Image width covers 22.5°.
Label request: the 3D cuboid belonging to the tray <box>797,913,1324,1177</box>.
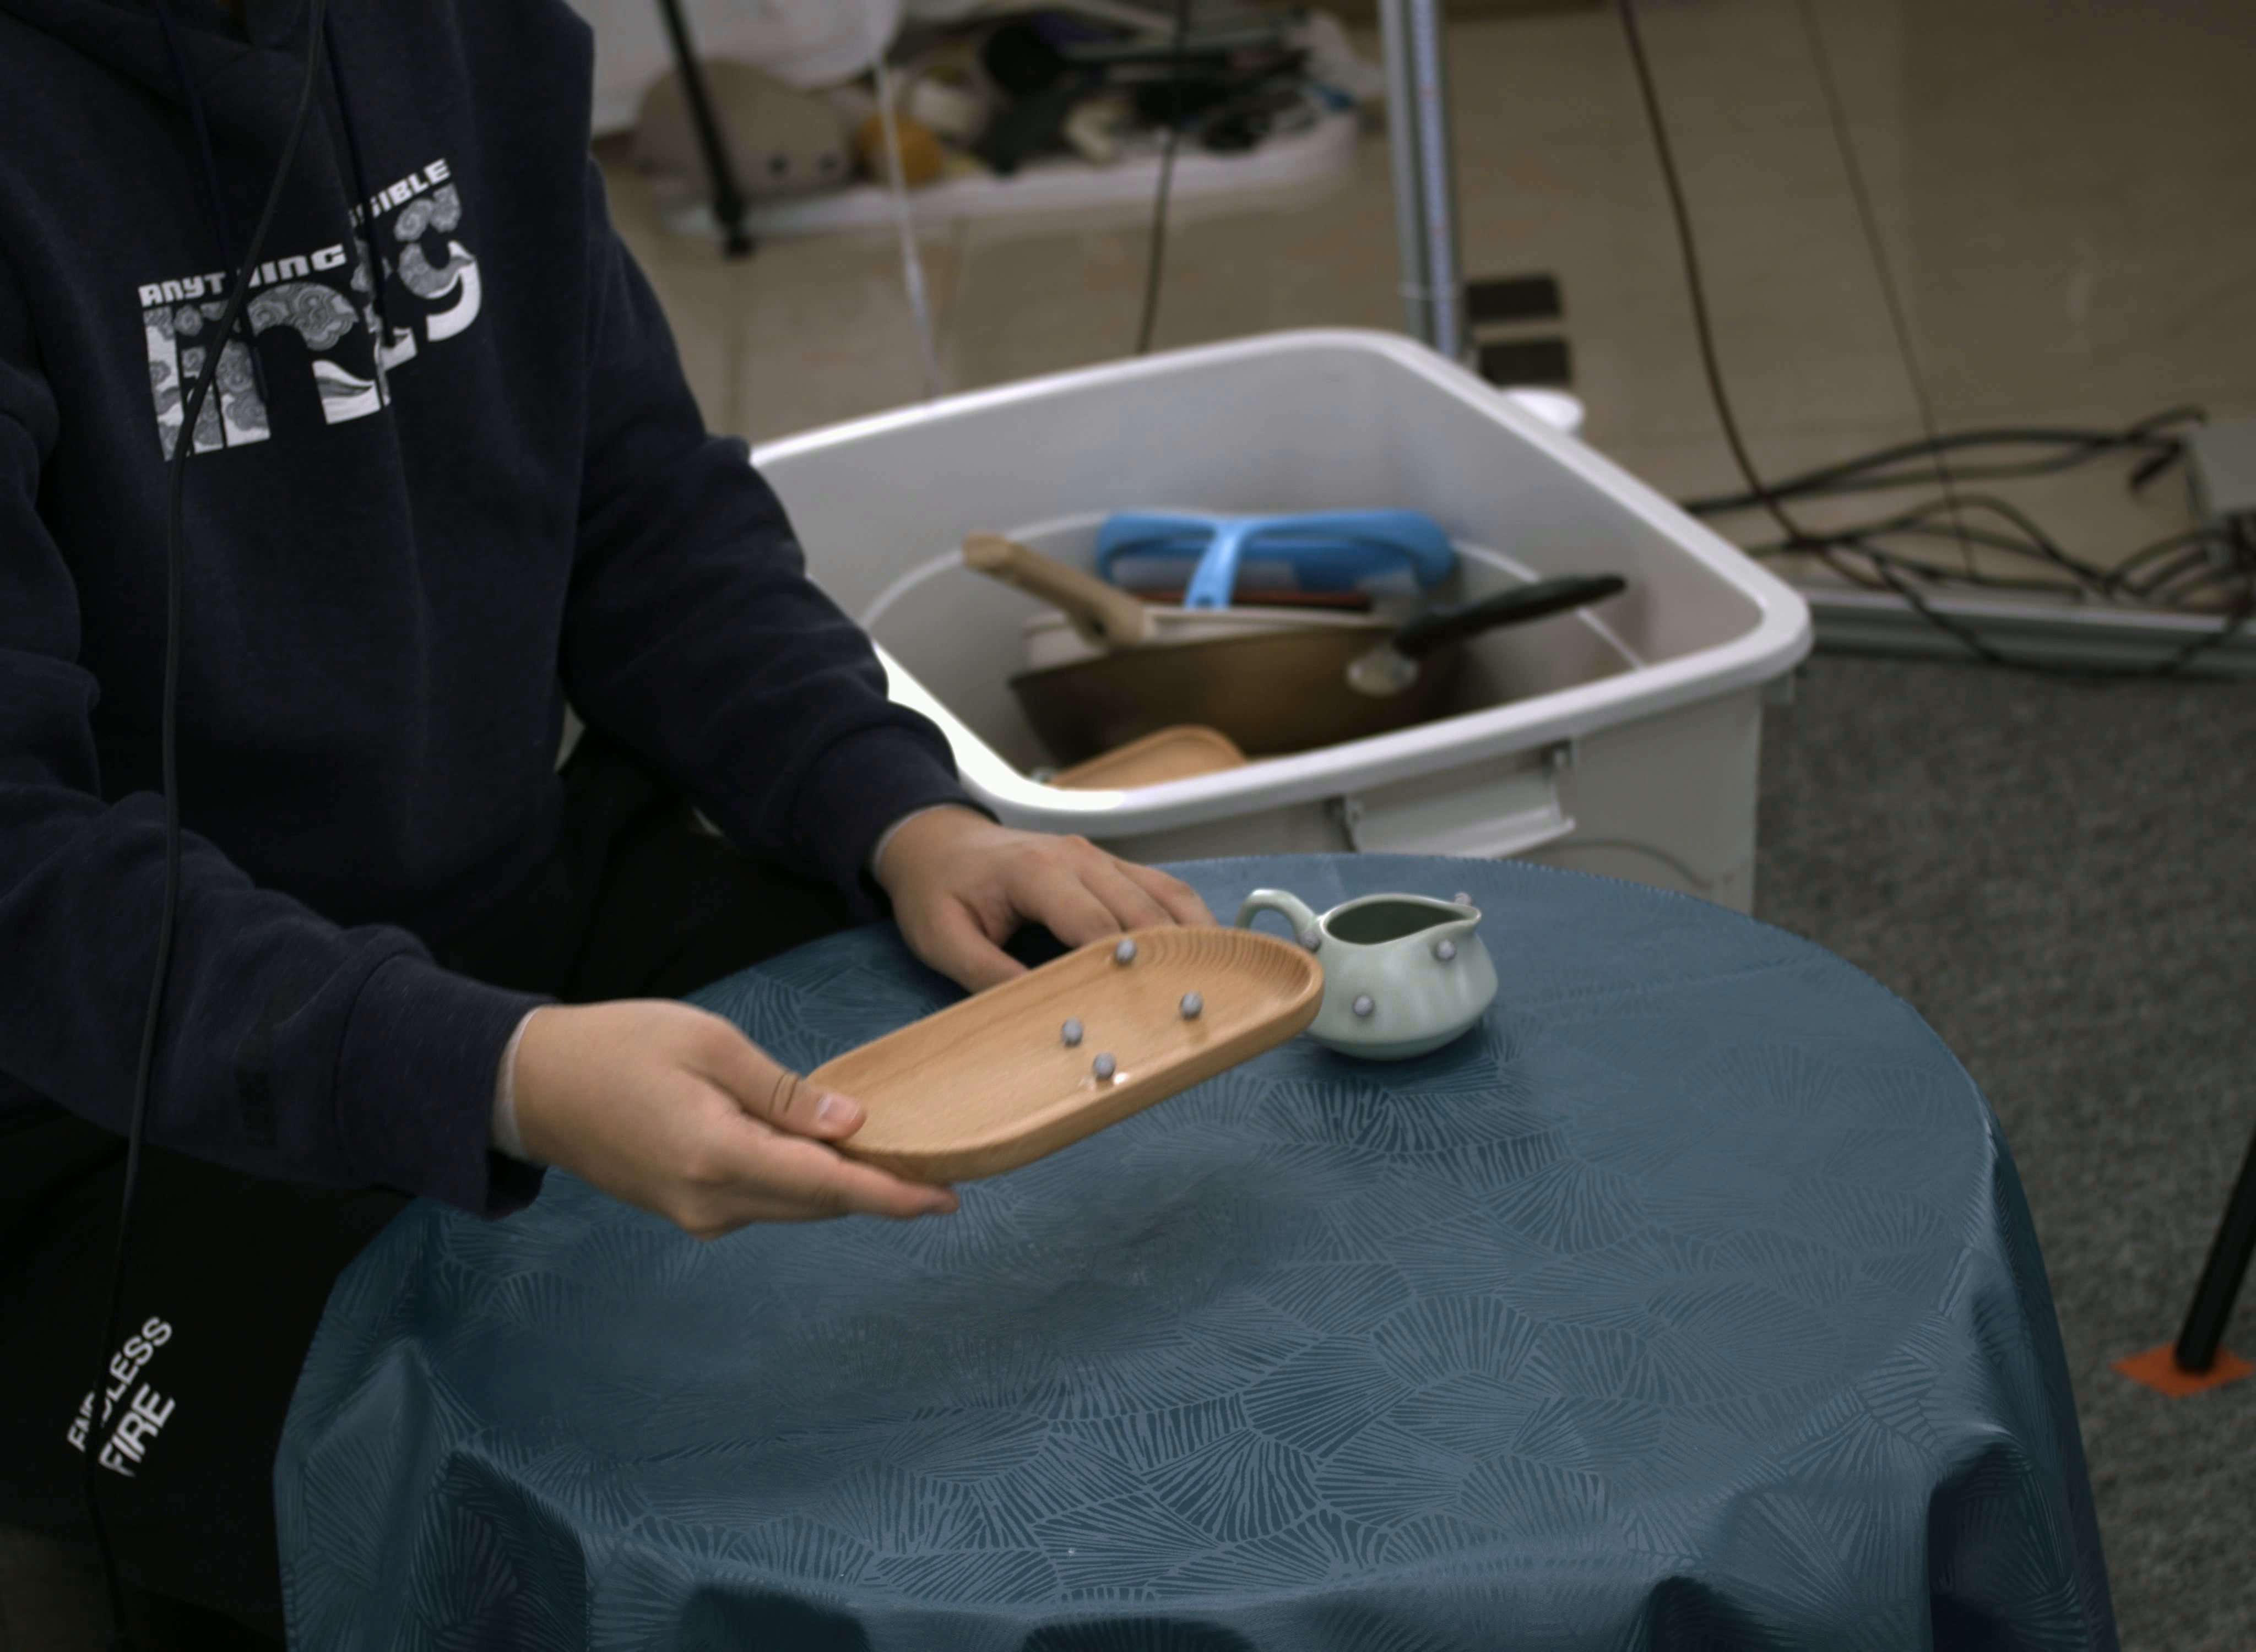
[{"bbox_3d":[-0.022,0.078,2.053,0.101,0.020,0.229,16,30,40],"label":"tray"}]

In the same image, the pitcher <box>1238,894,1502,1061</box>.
[{"bbox_3d":[0.093,0.057,2.238,0.108,0.061,0.085,2,25,22],"label":"pitcher"}]
